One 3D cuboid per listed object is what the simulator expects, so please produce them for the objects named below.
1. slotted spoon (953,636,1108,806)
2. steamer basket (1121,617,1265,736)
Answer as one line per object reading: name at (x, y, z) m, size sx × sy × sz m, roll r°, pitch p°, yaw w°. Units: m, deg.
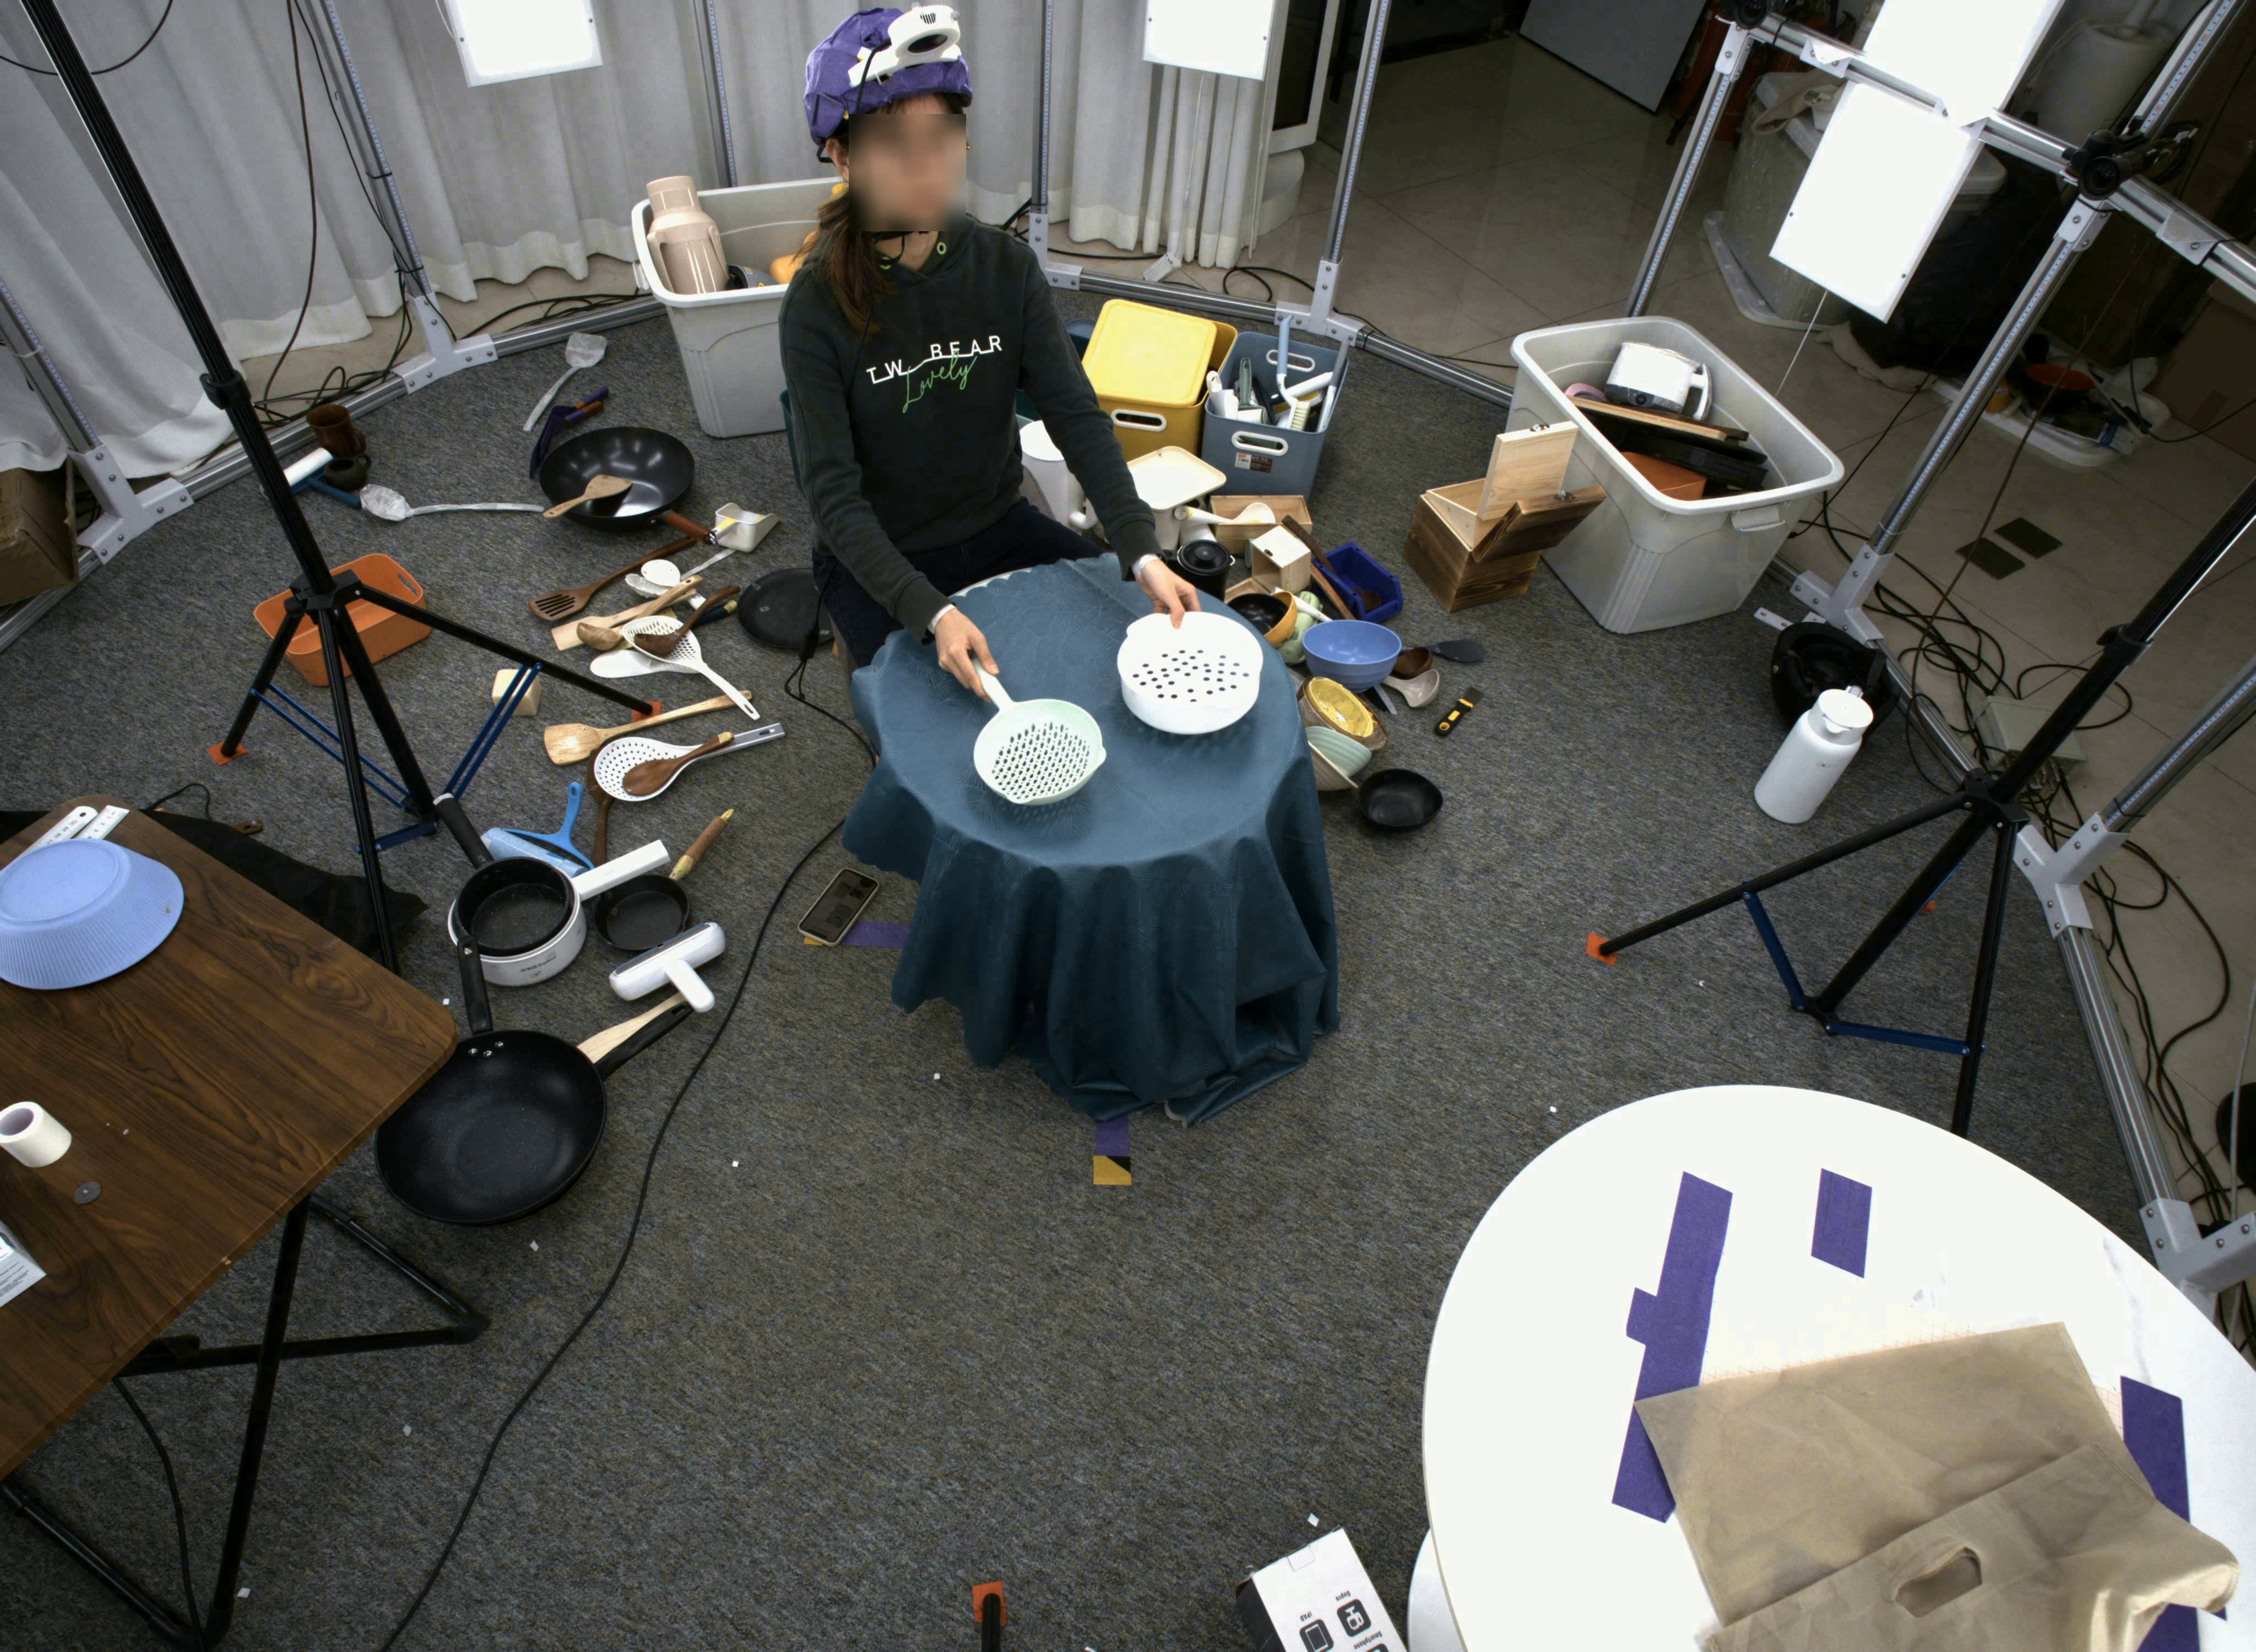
slotted spoon at (-0.162, -0.159, 1.754) m, size 0.170 × 0.073 × 0.366 m, roll -27°, pitch 59°, yaw -13°
steamer basket at (0.091, -0.209, 1.809) m, size 0.203 × 0.067 × 0.235 m, roll -29°, pitch 50°, yaw -24°
